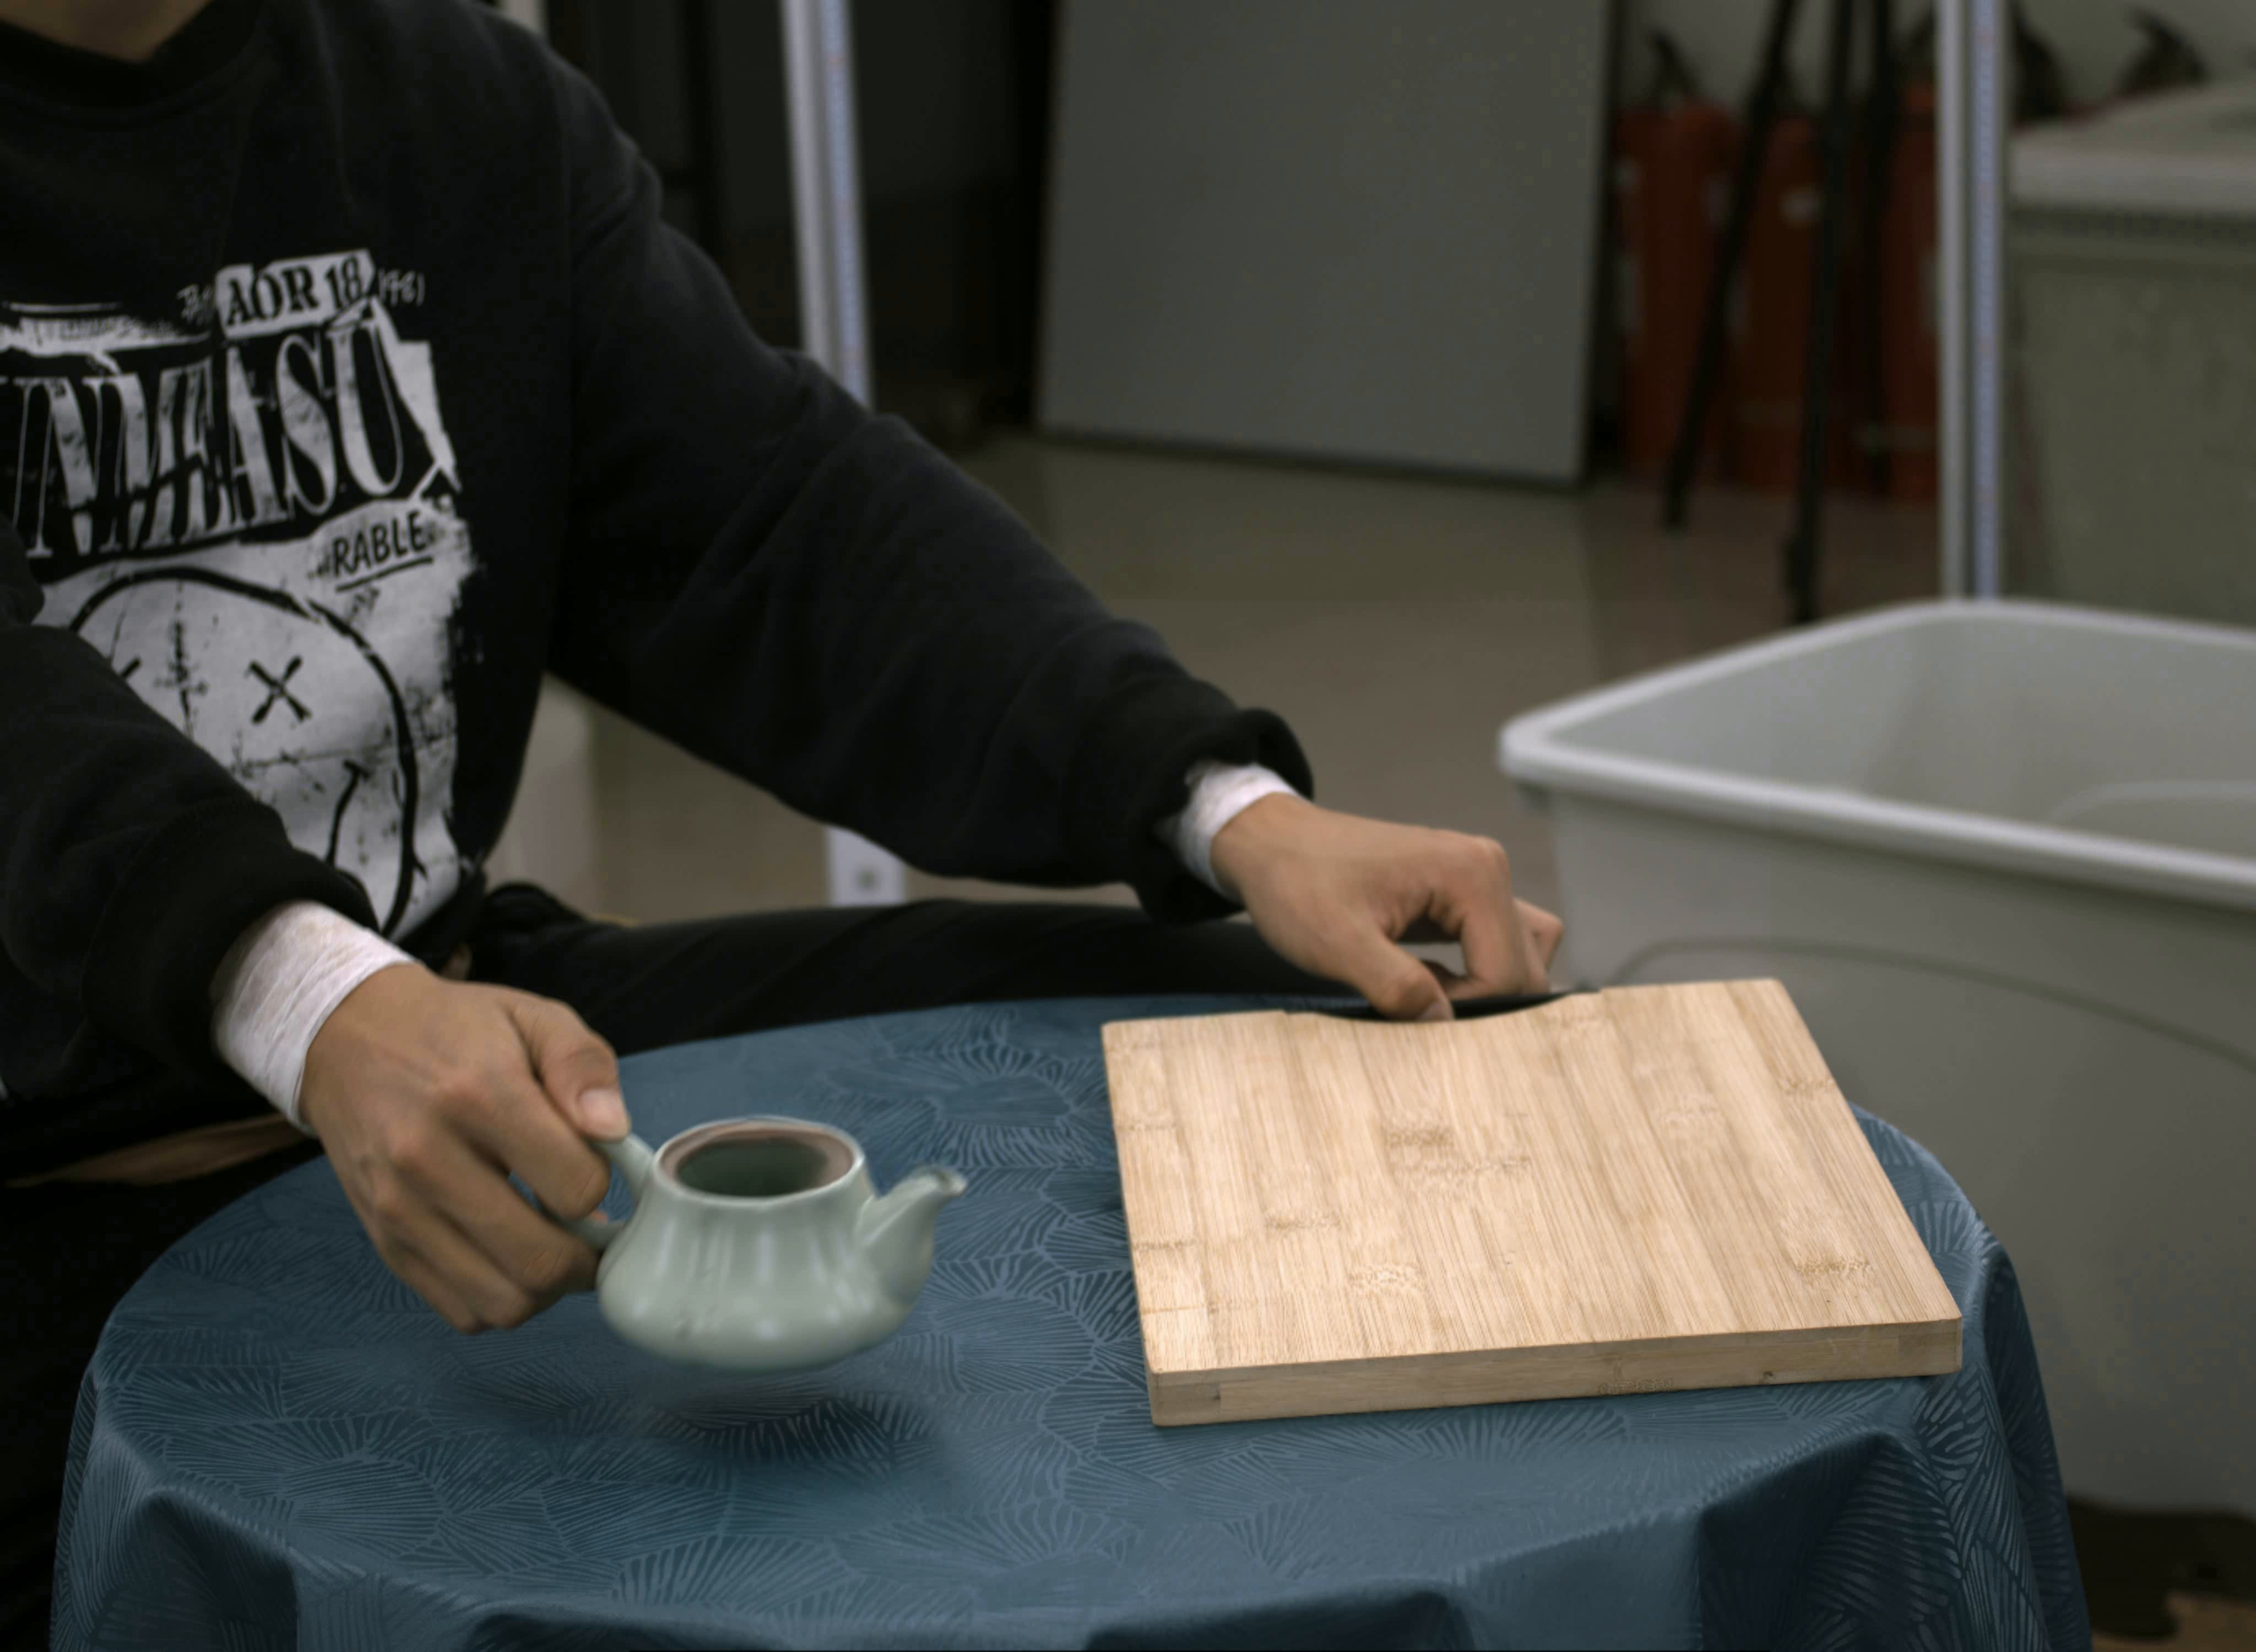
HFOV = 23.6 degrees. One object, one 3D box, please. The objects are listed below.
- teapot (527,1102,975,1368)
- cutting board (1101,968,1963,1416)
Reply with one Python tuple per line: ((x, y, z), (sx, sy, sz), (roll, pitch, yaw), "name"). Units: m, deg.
((-0.110, 0.118, 1.581), (0.136, 0.062, 0.095), (6, 23, 14), "teapot")
((0.117, 0.112, 1.724), (0.247, 0.024, 0.349), (-5, 15, -2), "cutting board")
